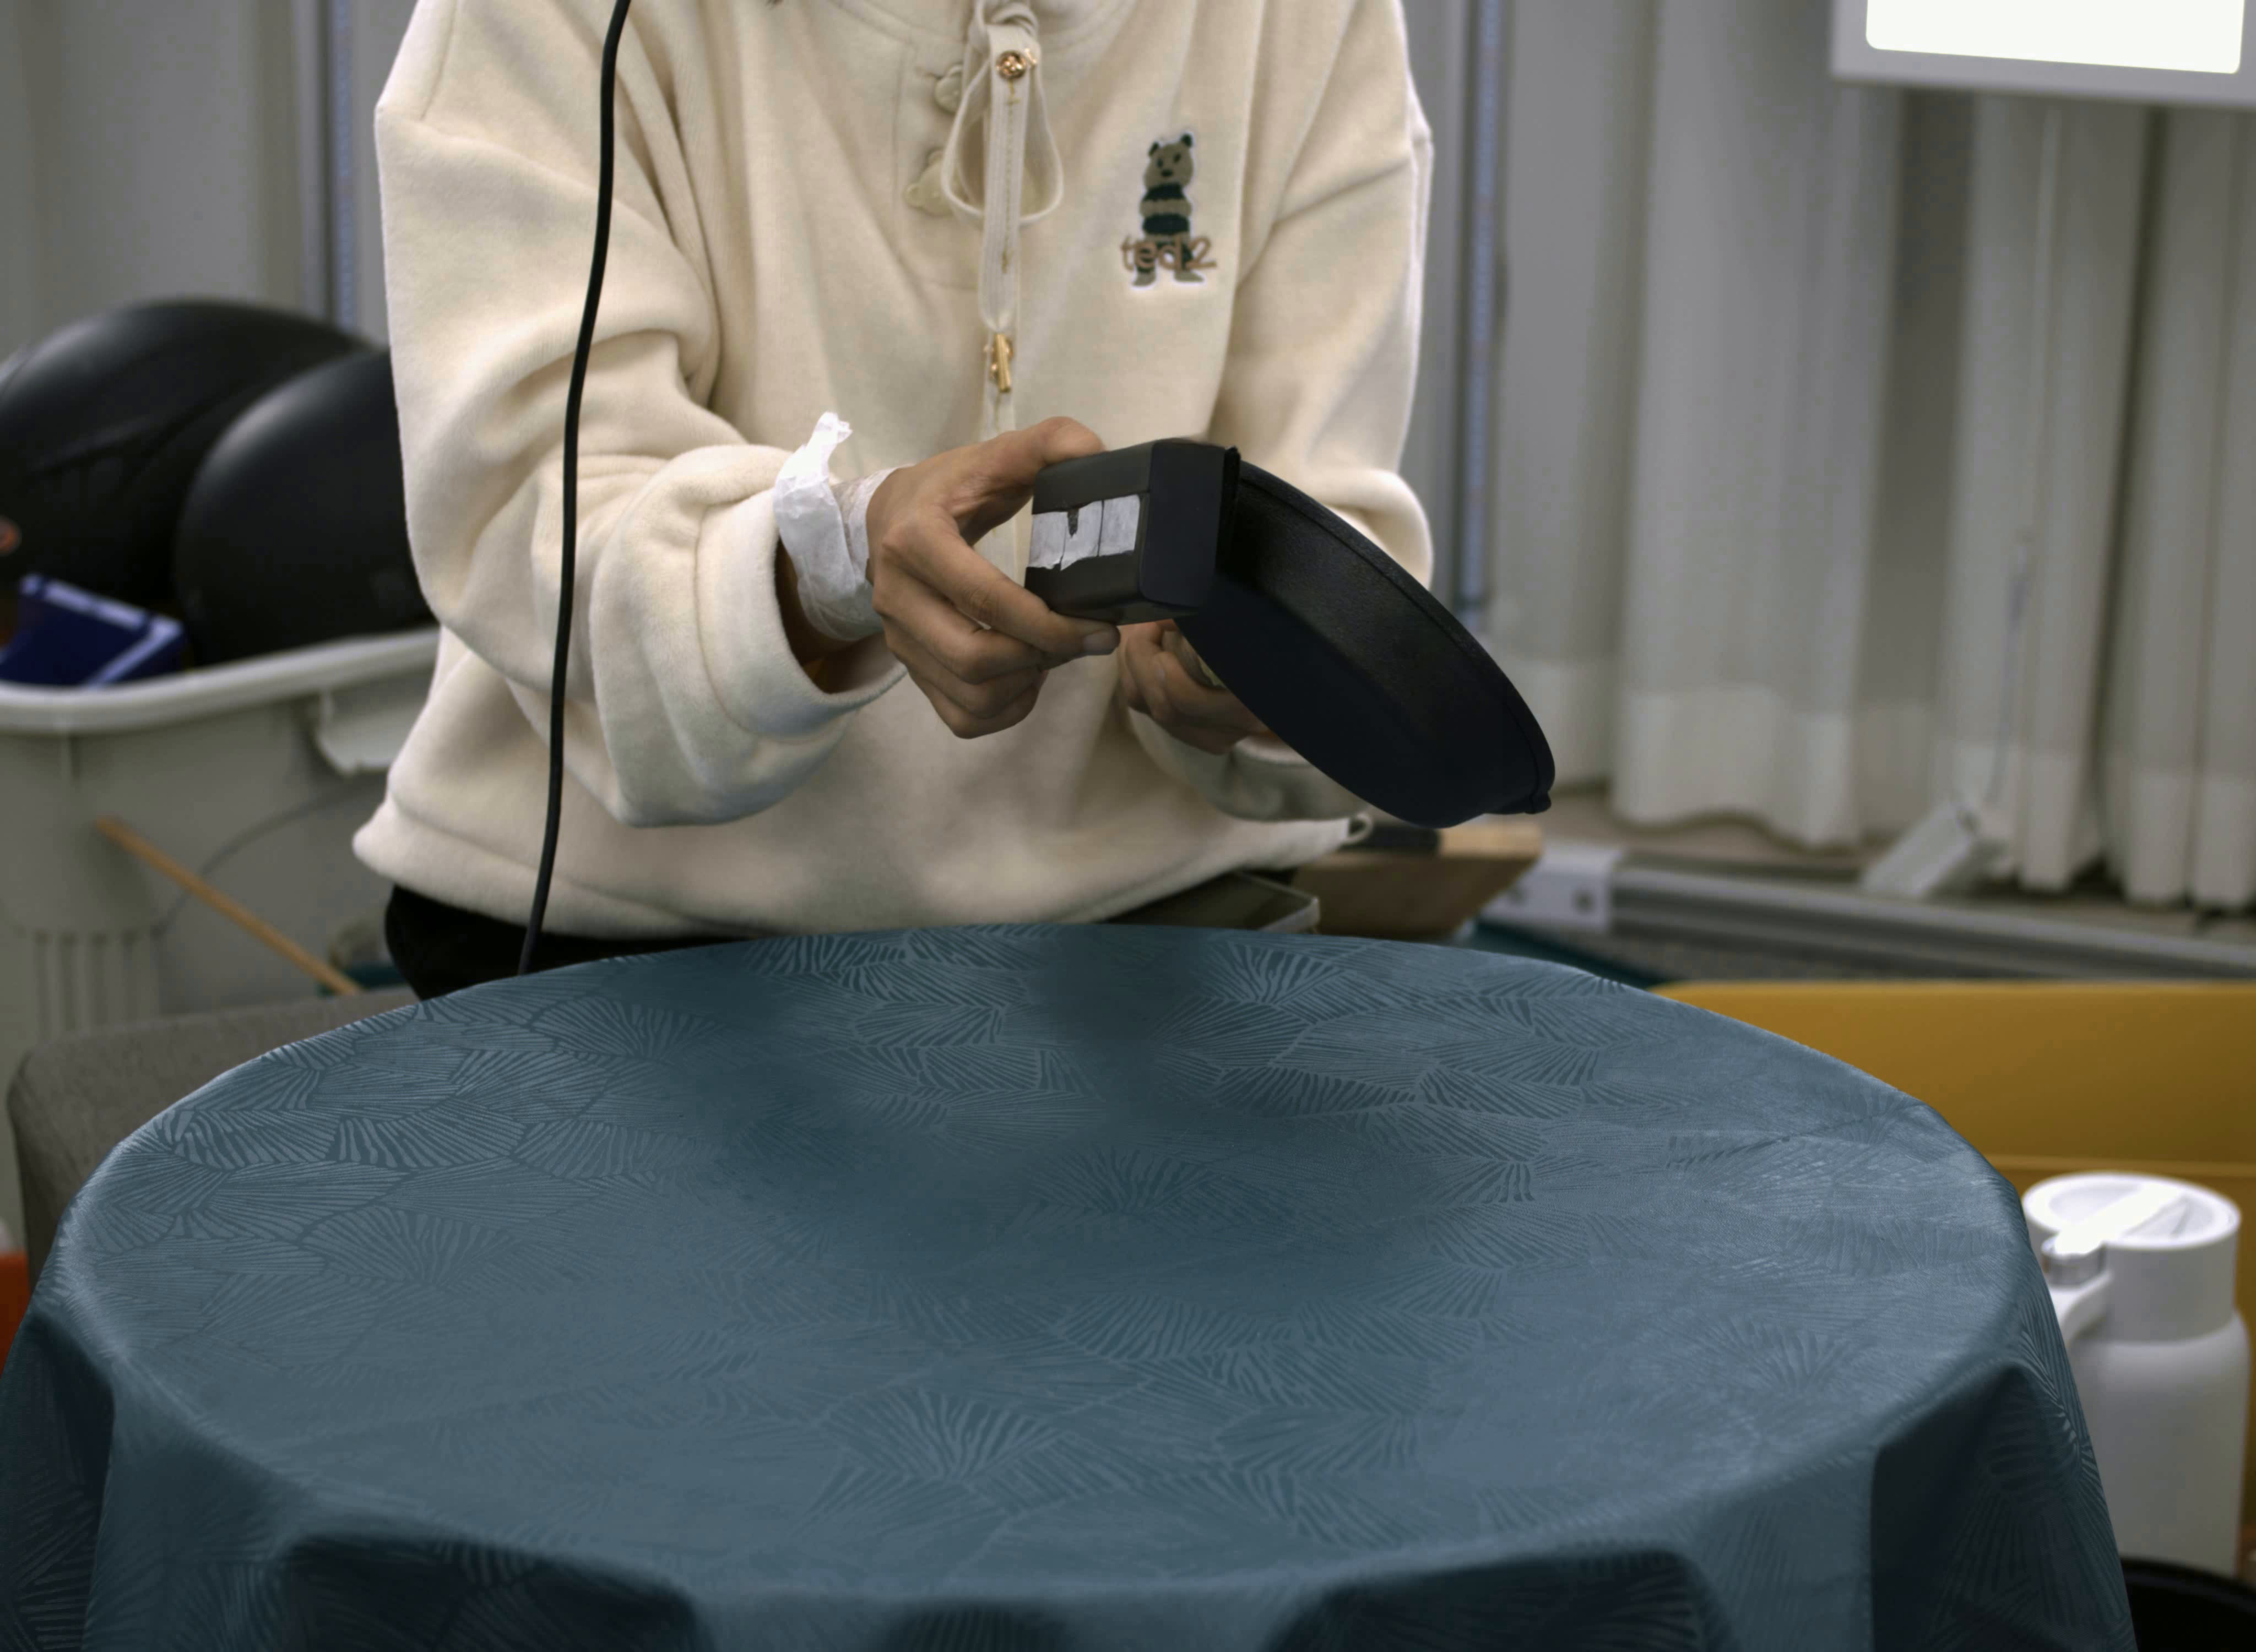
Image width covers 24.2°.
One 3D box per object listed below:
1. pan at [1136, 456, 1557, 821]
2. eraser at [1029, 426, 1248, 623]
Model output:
[{"bbox_3d":[0.048,-0.057,1.756,0.049,0.169,0.323,-49,9,-11],"label":"pan"},{"bbox_3d":[0.002,-0.093,1.643,0.030,0.053,0.125,8,-3,-17],"label":"eraser"}]
